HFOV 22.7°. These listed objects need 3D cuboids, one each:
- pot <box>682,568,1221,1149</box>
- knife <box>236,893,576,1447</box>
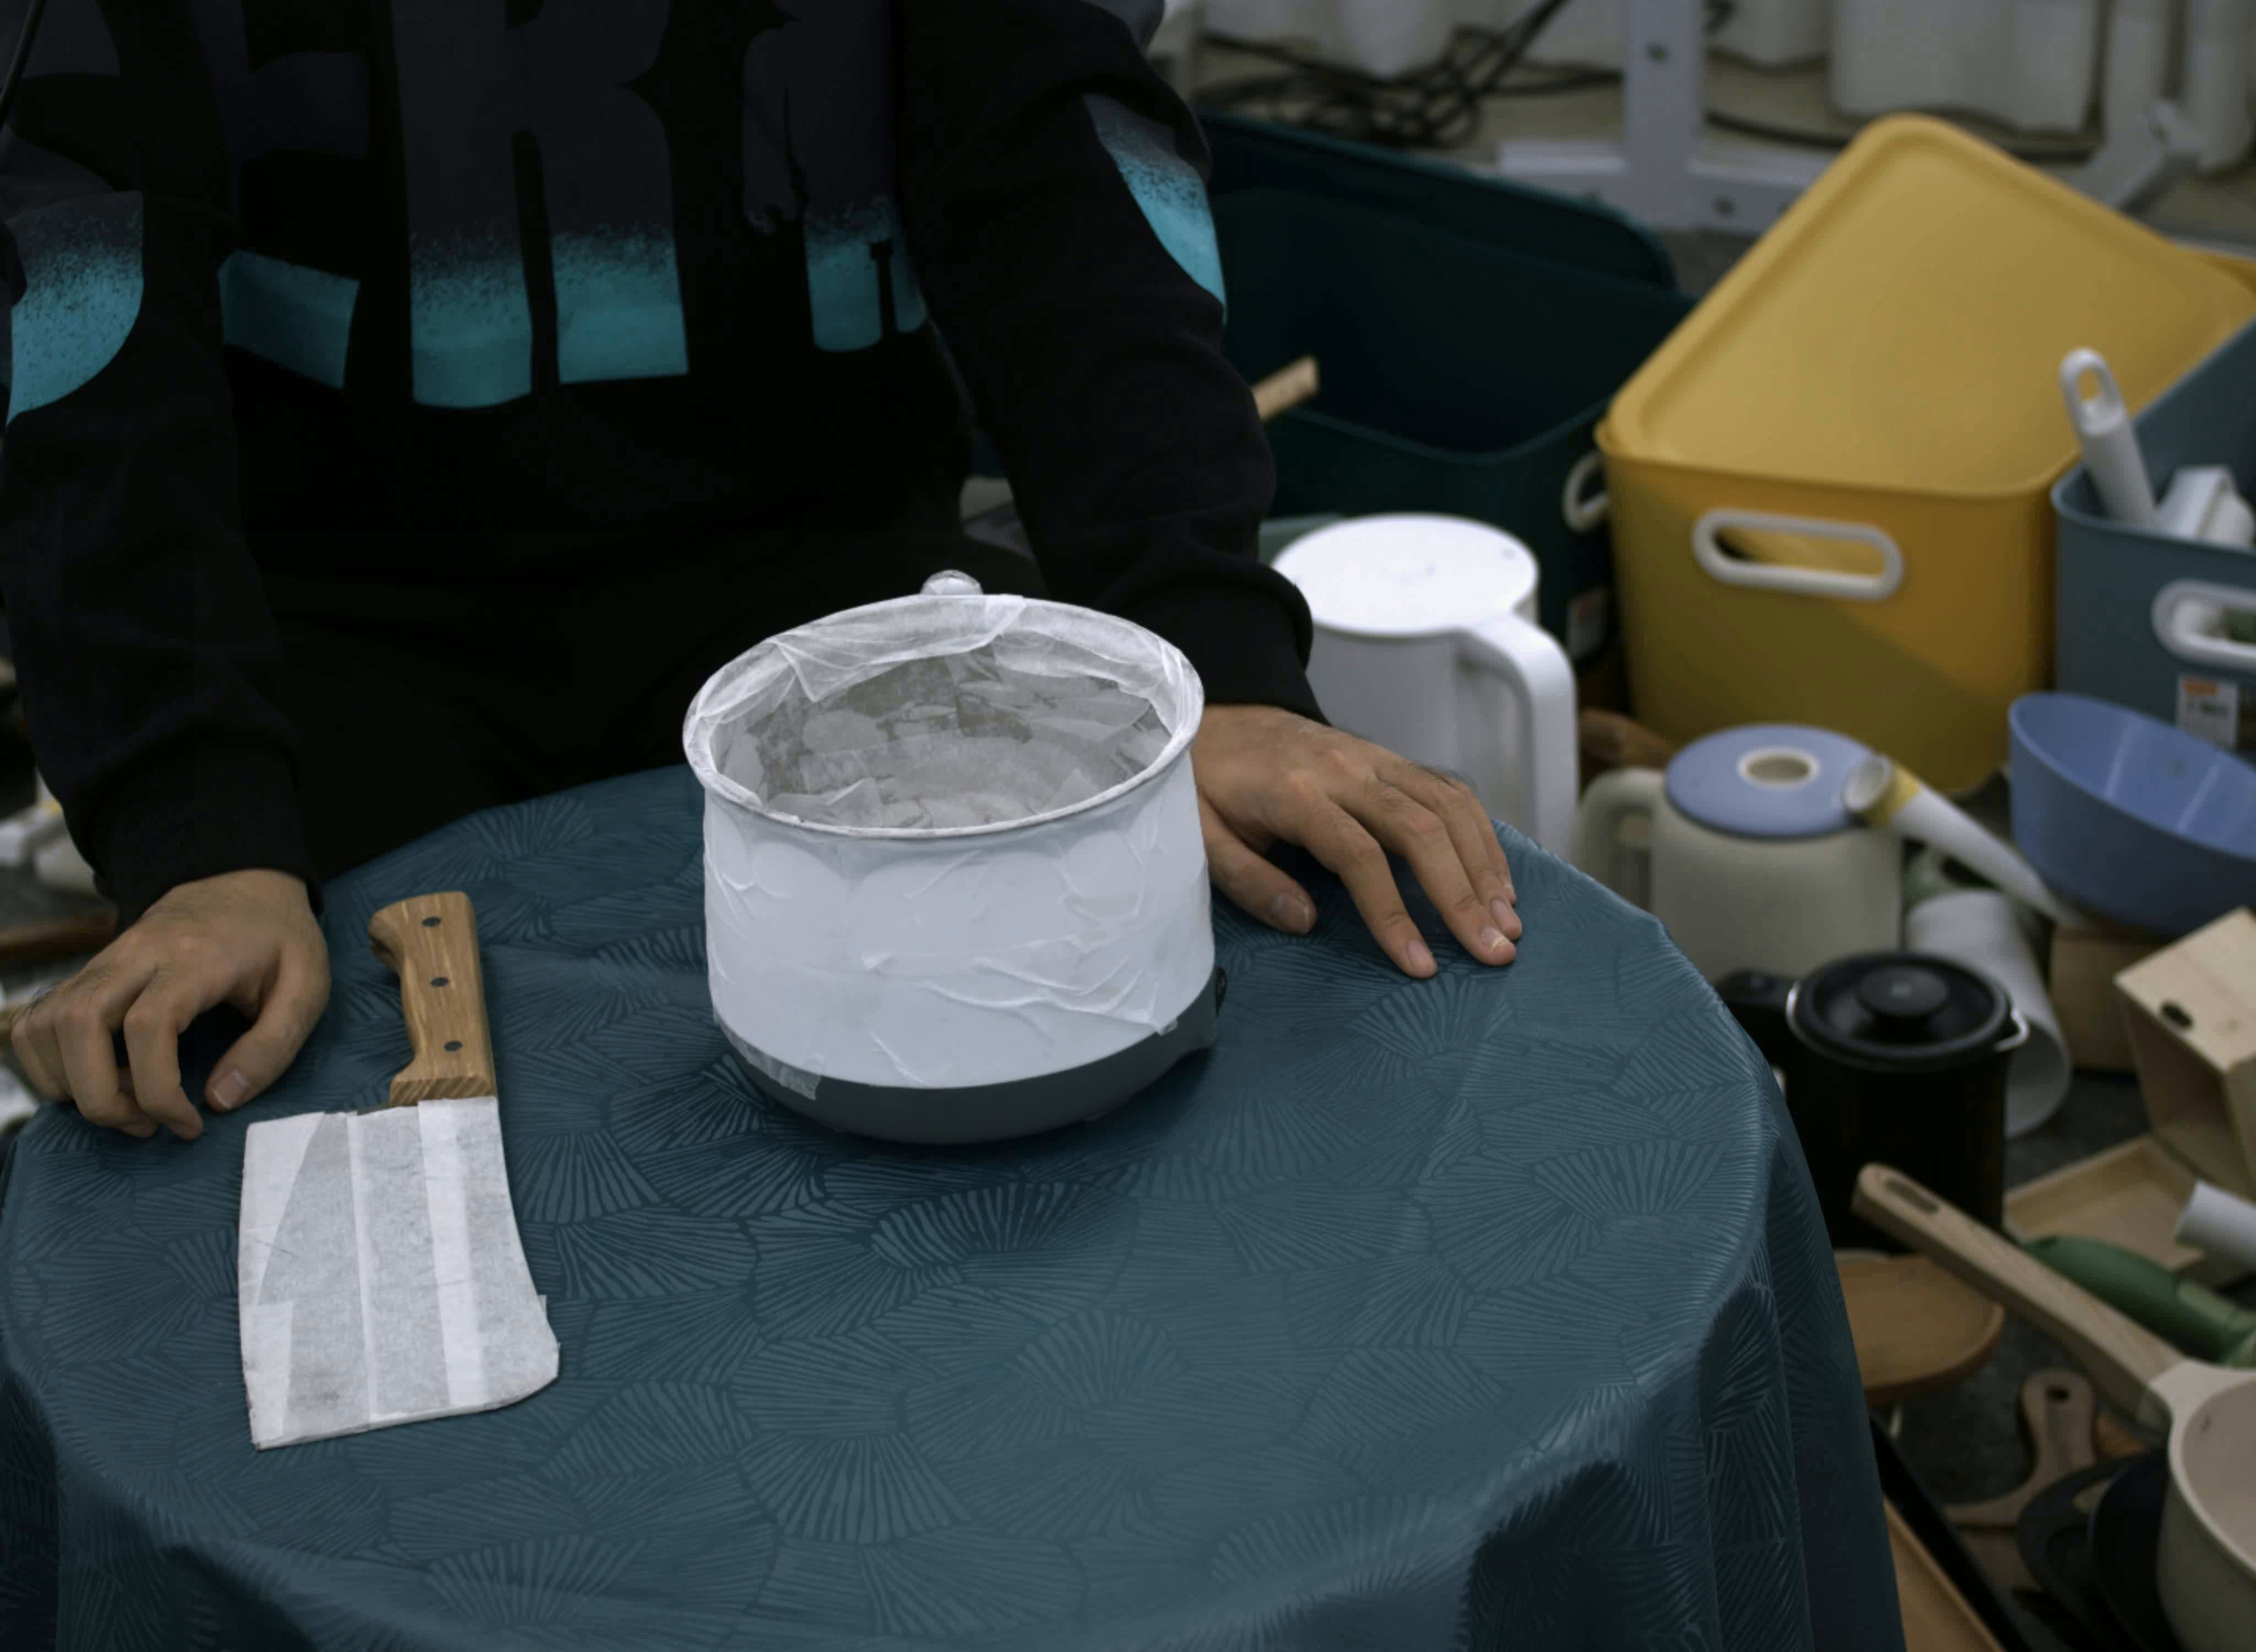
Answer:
[{"bbox_3d":[-0.059,0.004,1.948,0.178,0.135,0.237,-3,28,-1],"label":"pot"},{"bbox_3d":[-0.243,0.112,1.887,0.113,0.021,0.320,-5,30,-3],"label":"knife"}]
